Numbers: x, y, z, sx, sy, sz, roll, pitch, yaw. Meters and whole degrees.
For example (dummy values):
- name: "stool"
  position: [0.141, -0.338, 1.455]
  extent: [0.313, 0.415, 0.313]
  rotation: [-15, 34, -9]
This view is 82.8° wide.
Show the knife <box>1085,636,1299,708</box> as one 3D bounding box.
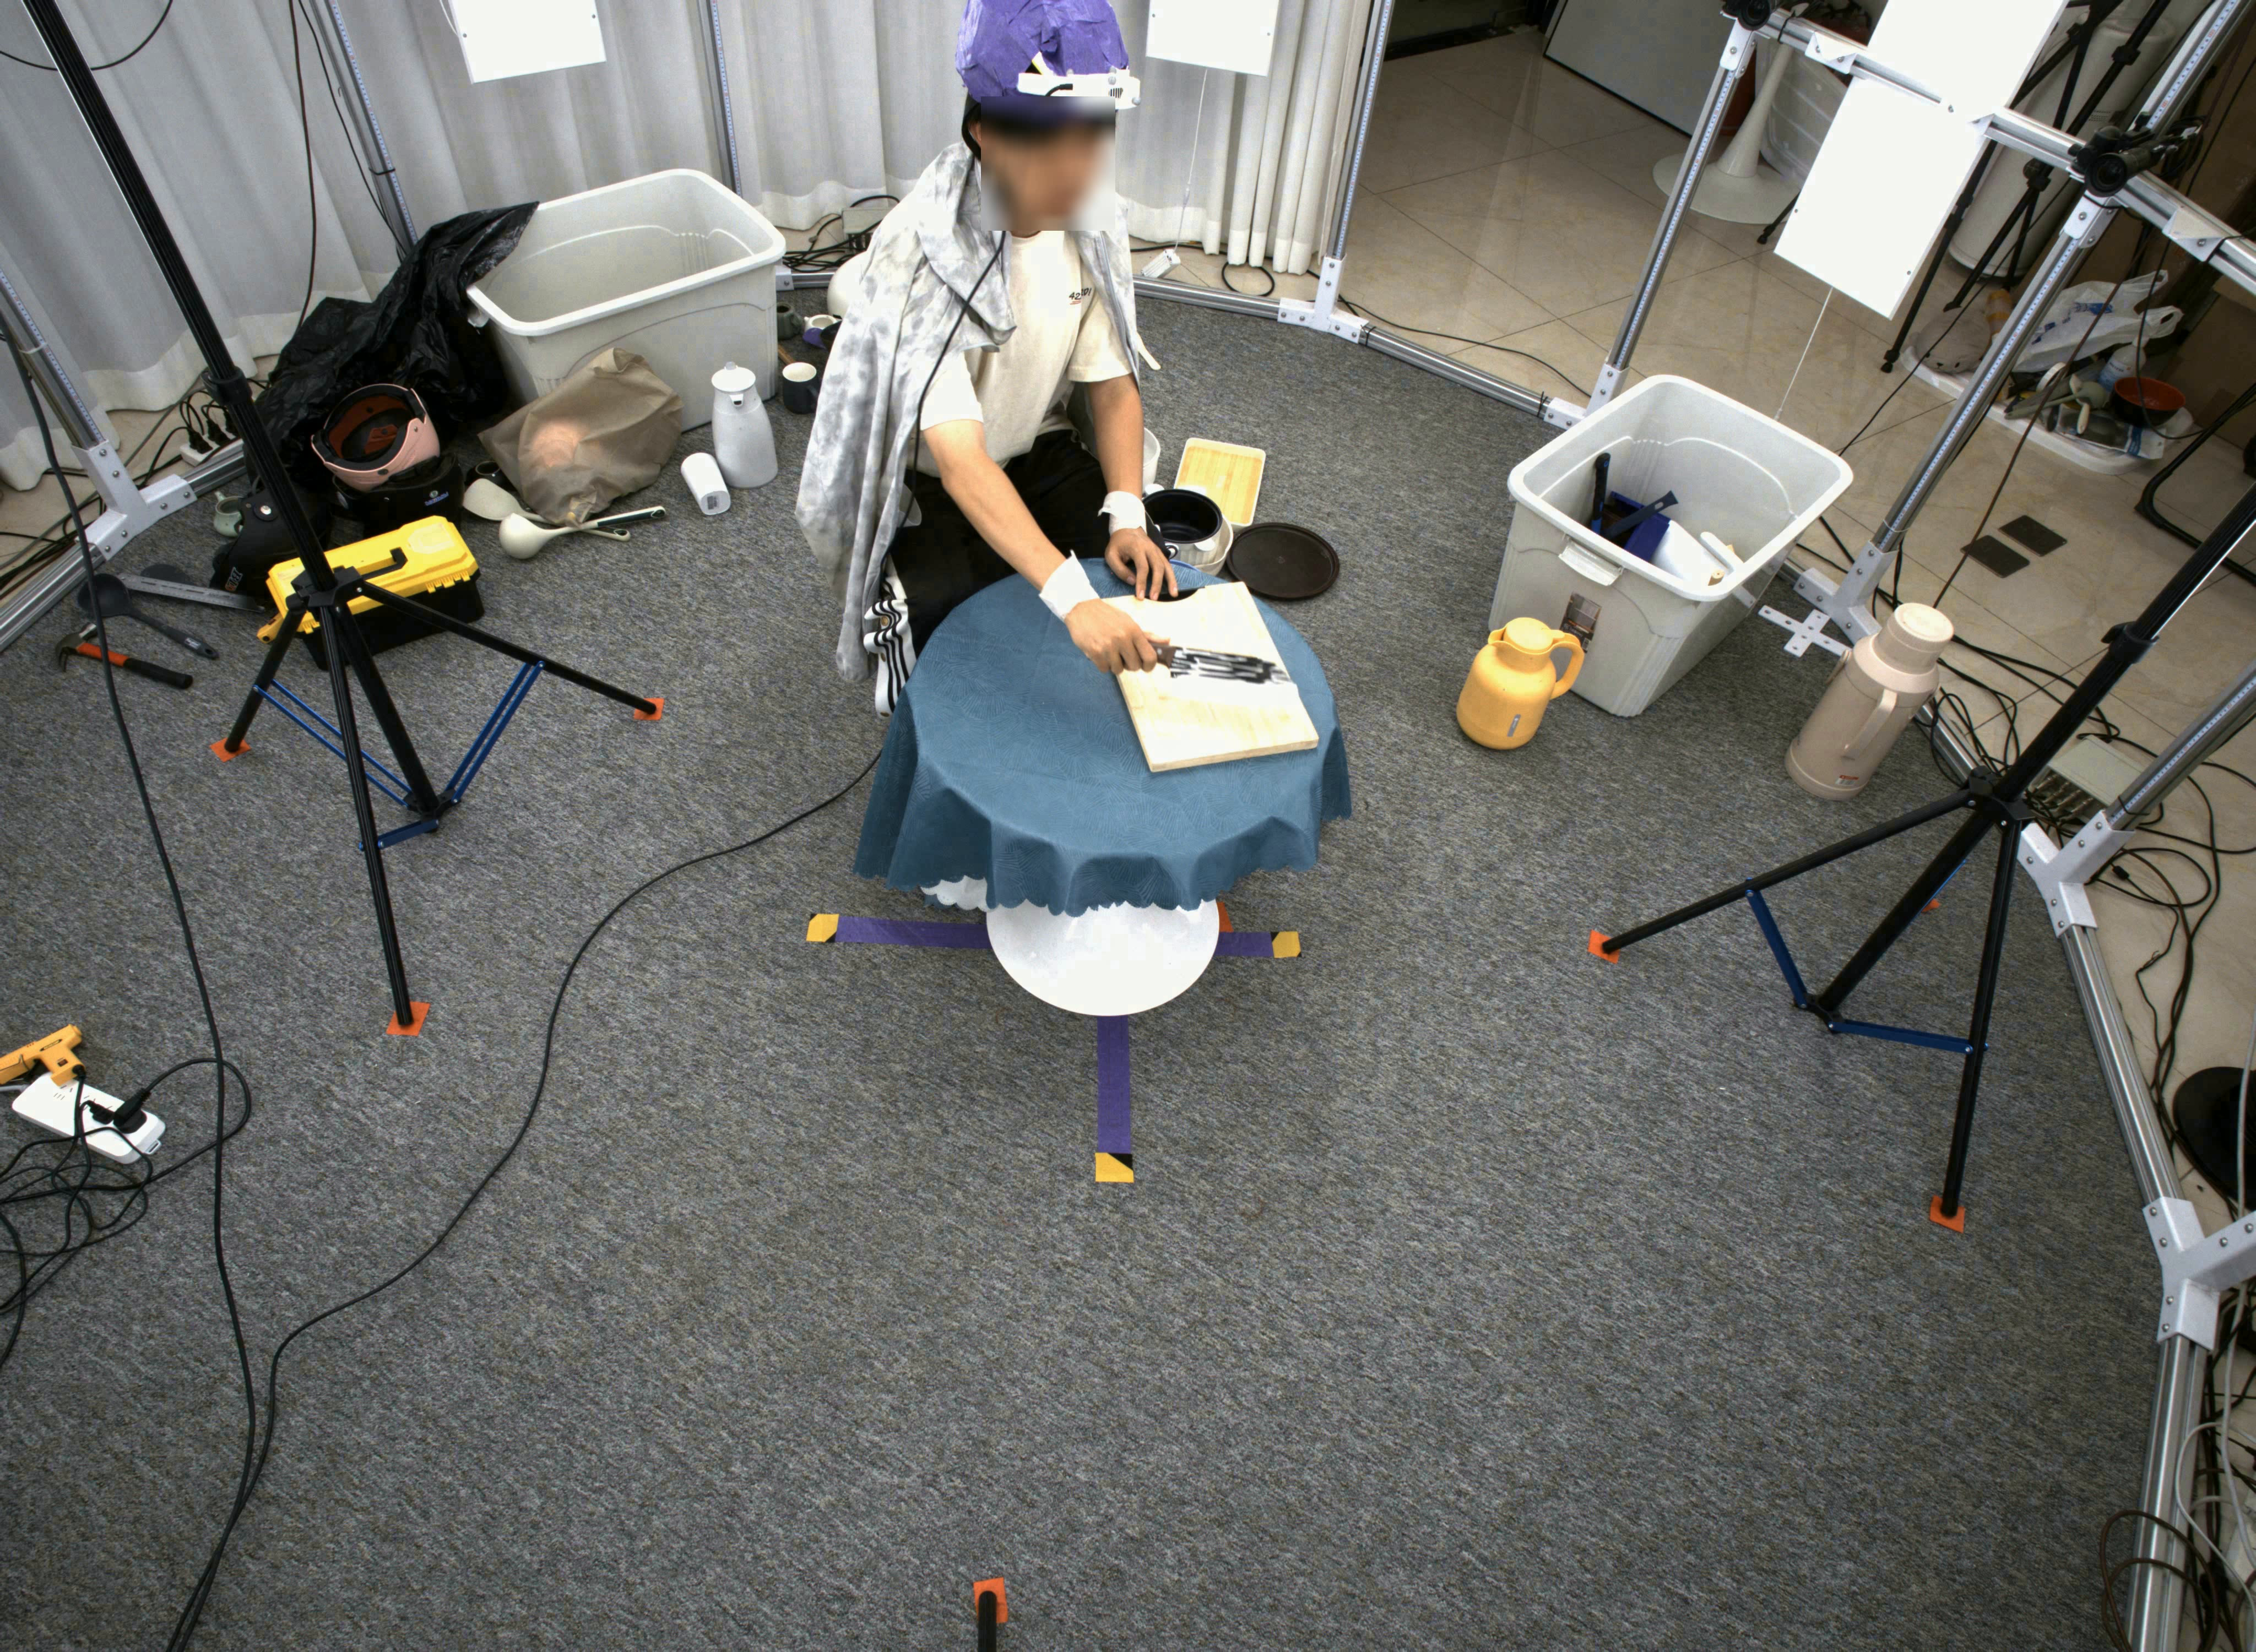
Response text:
- name: "knife"
  position: [0.086, -0.206, 1.730]
  extent: [0.299, 0.024, 0.068]
  rotation: [9, 85, 3]

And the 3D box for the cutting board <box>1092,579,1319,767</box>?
- name: "cutting board"
  position: [0.104, -0.228, 1.856]
  extent: [0.250, 0.023, 0.357]
  rotation: [-10, 50, -13]
